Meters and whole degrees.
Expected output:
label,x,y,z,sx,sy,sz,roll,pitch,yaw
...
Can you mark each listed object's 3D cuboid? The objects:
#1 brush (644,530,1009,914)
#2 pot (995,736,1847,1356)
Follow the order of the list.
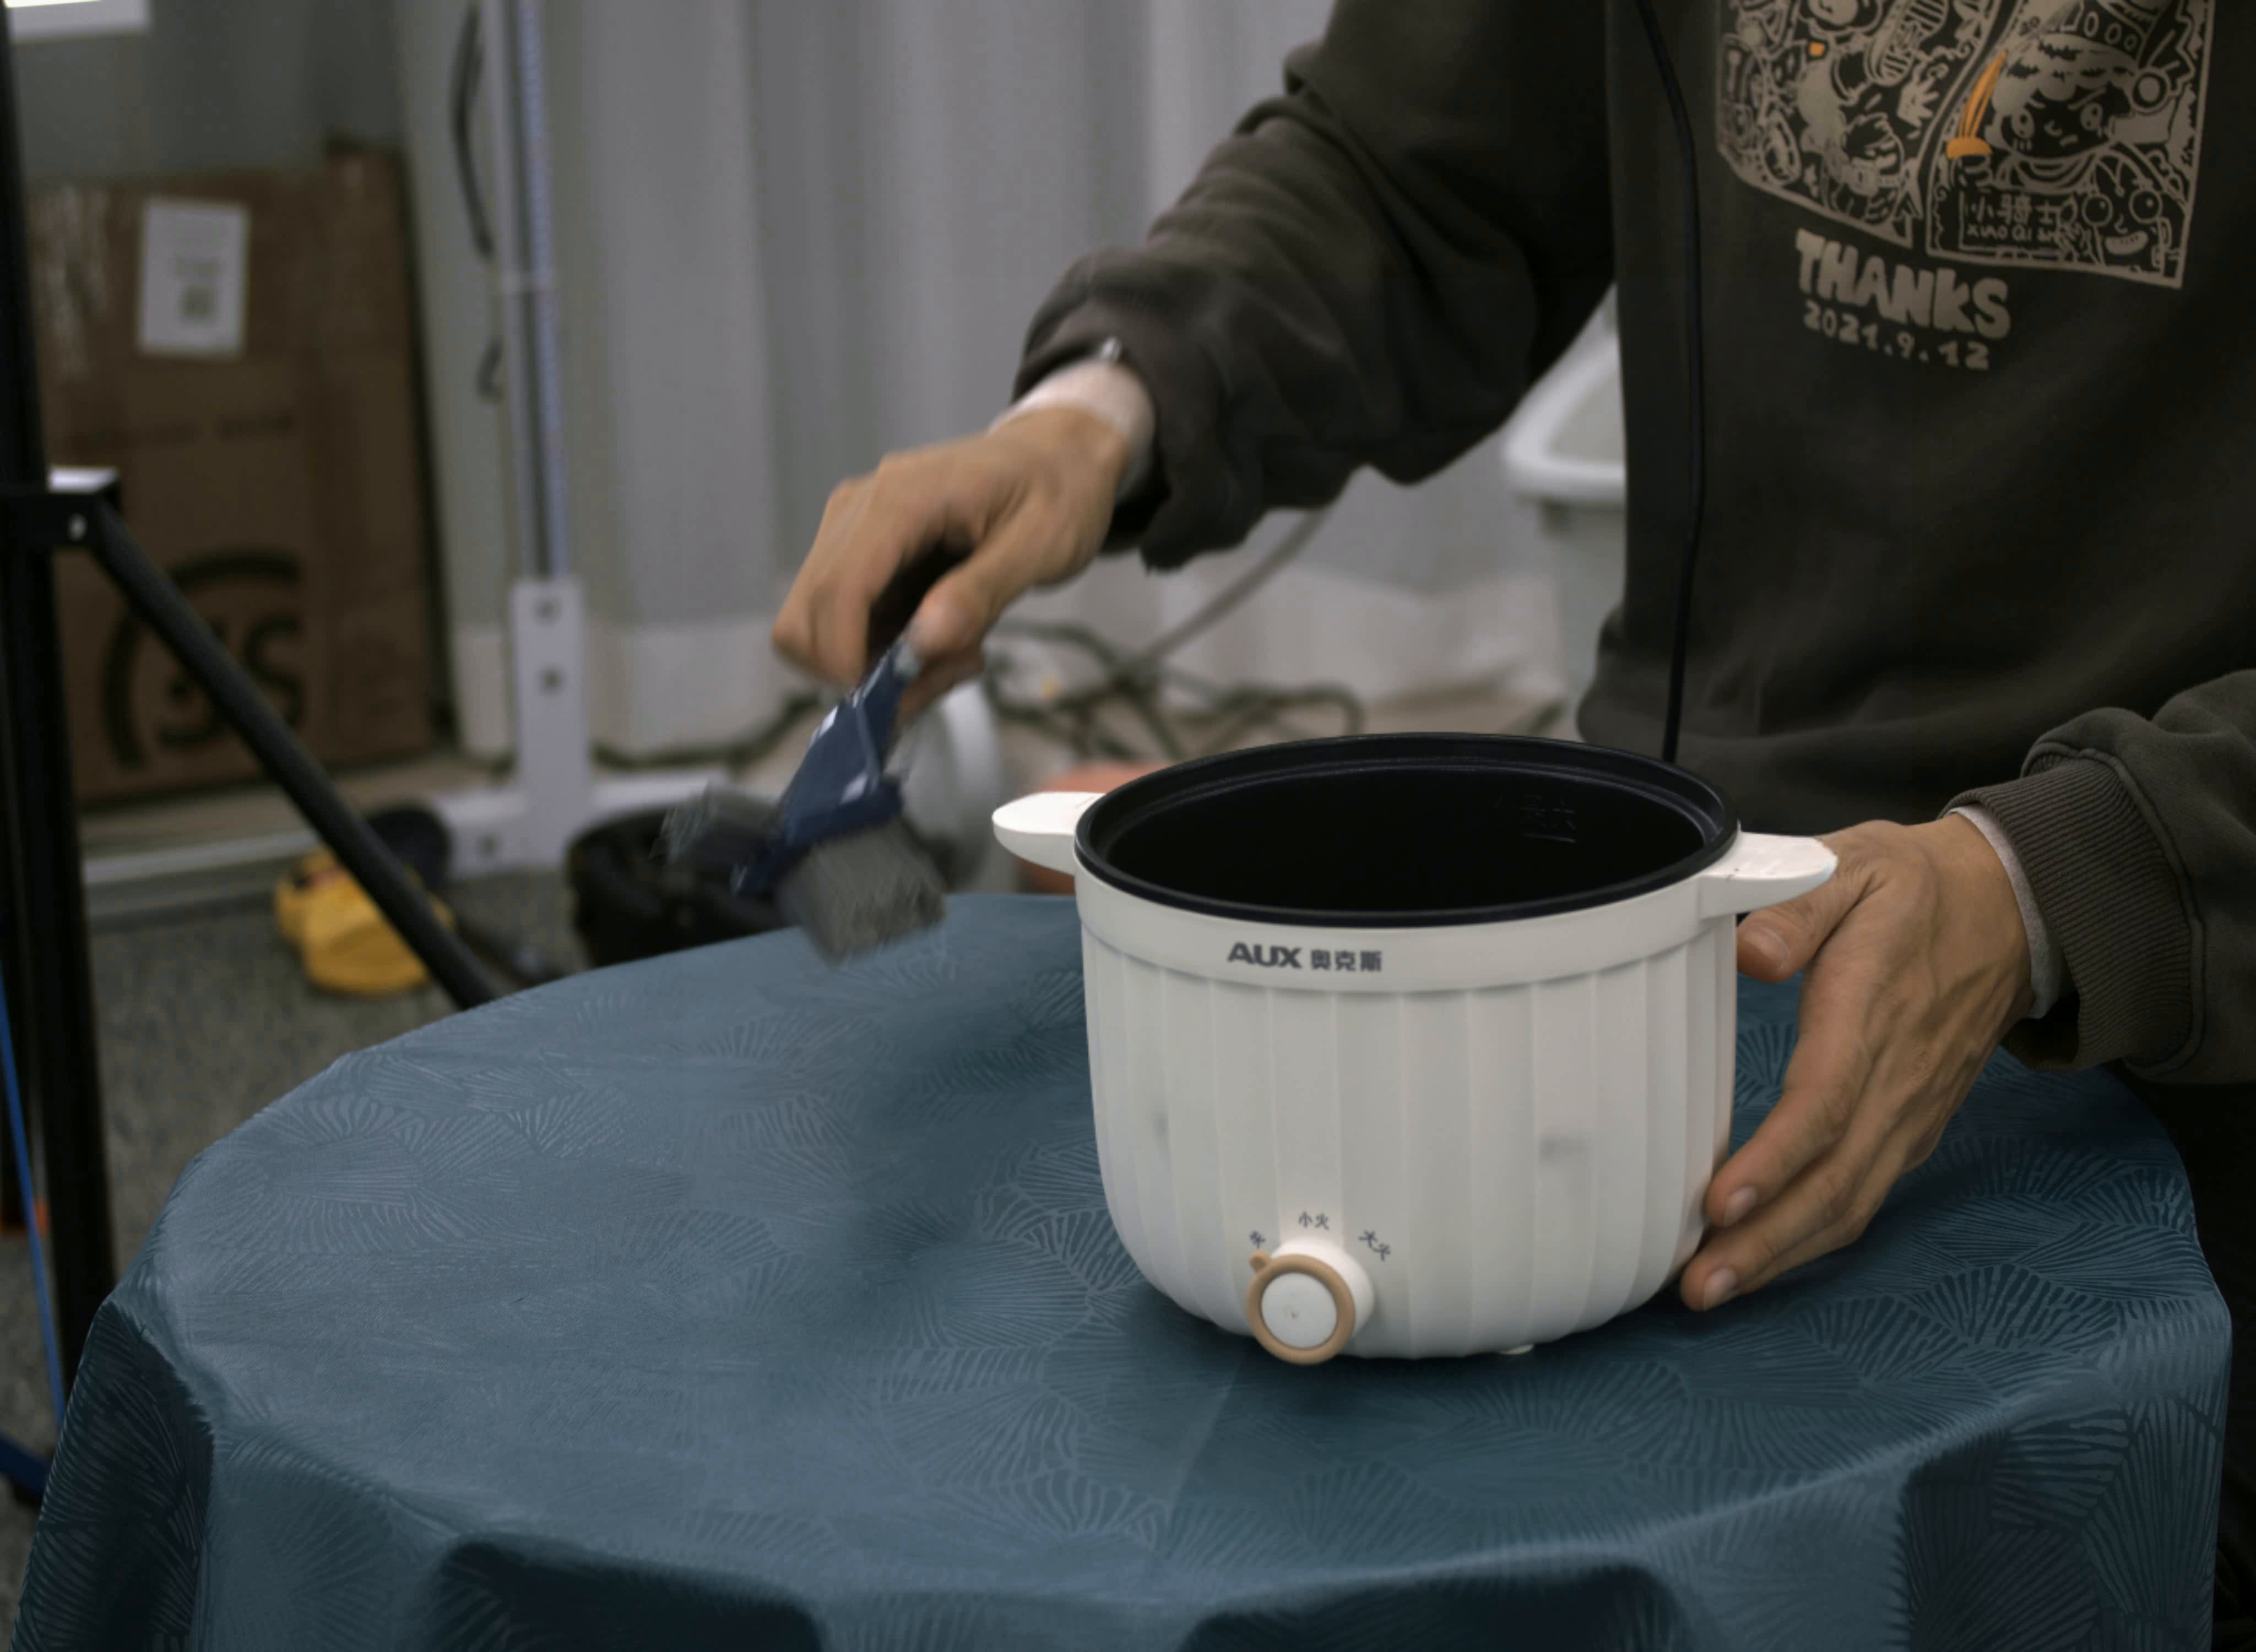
label,x,y,z,sx,sy,sz,roll,pitch,yaw
brush,-0.084,-0.046,1.629,0.095,0.034,0.274,40,22,-13
pot,0.078,0.063,1.453,0.243,0.143,0.188,2,12,21
